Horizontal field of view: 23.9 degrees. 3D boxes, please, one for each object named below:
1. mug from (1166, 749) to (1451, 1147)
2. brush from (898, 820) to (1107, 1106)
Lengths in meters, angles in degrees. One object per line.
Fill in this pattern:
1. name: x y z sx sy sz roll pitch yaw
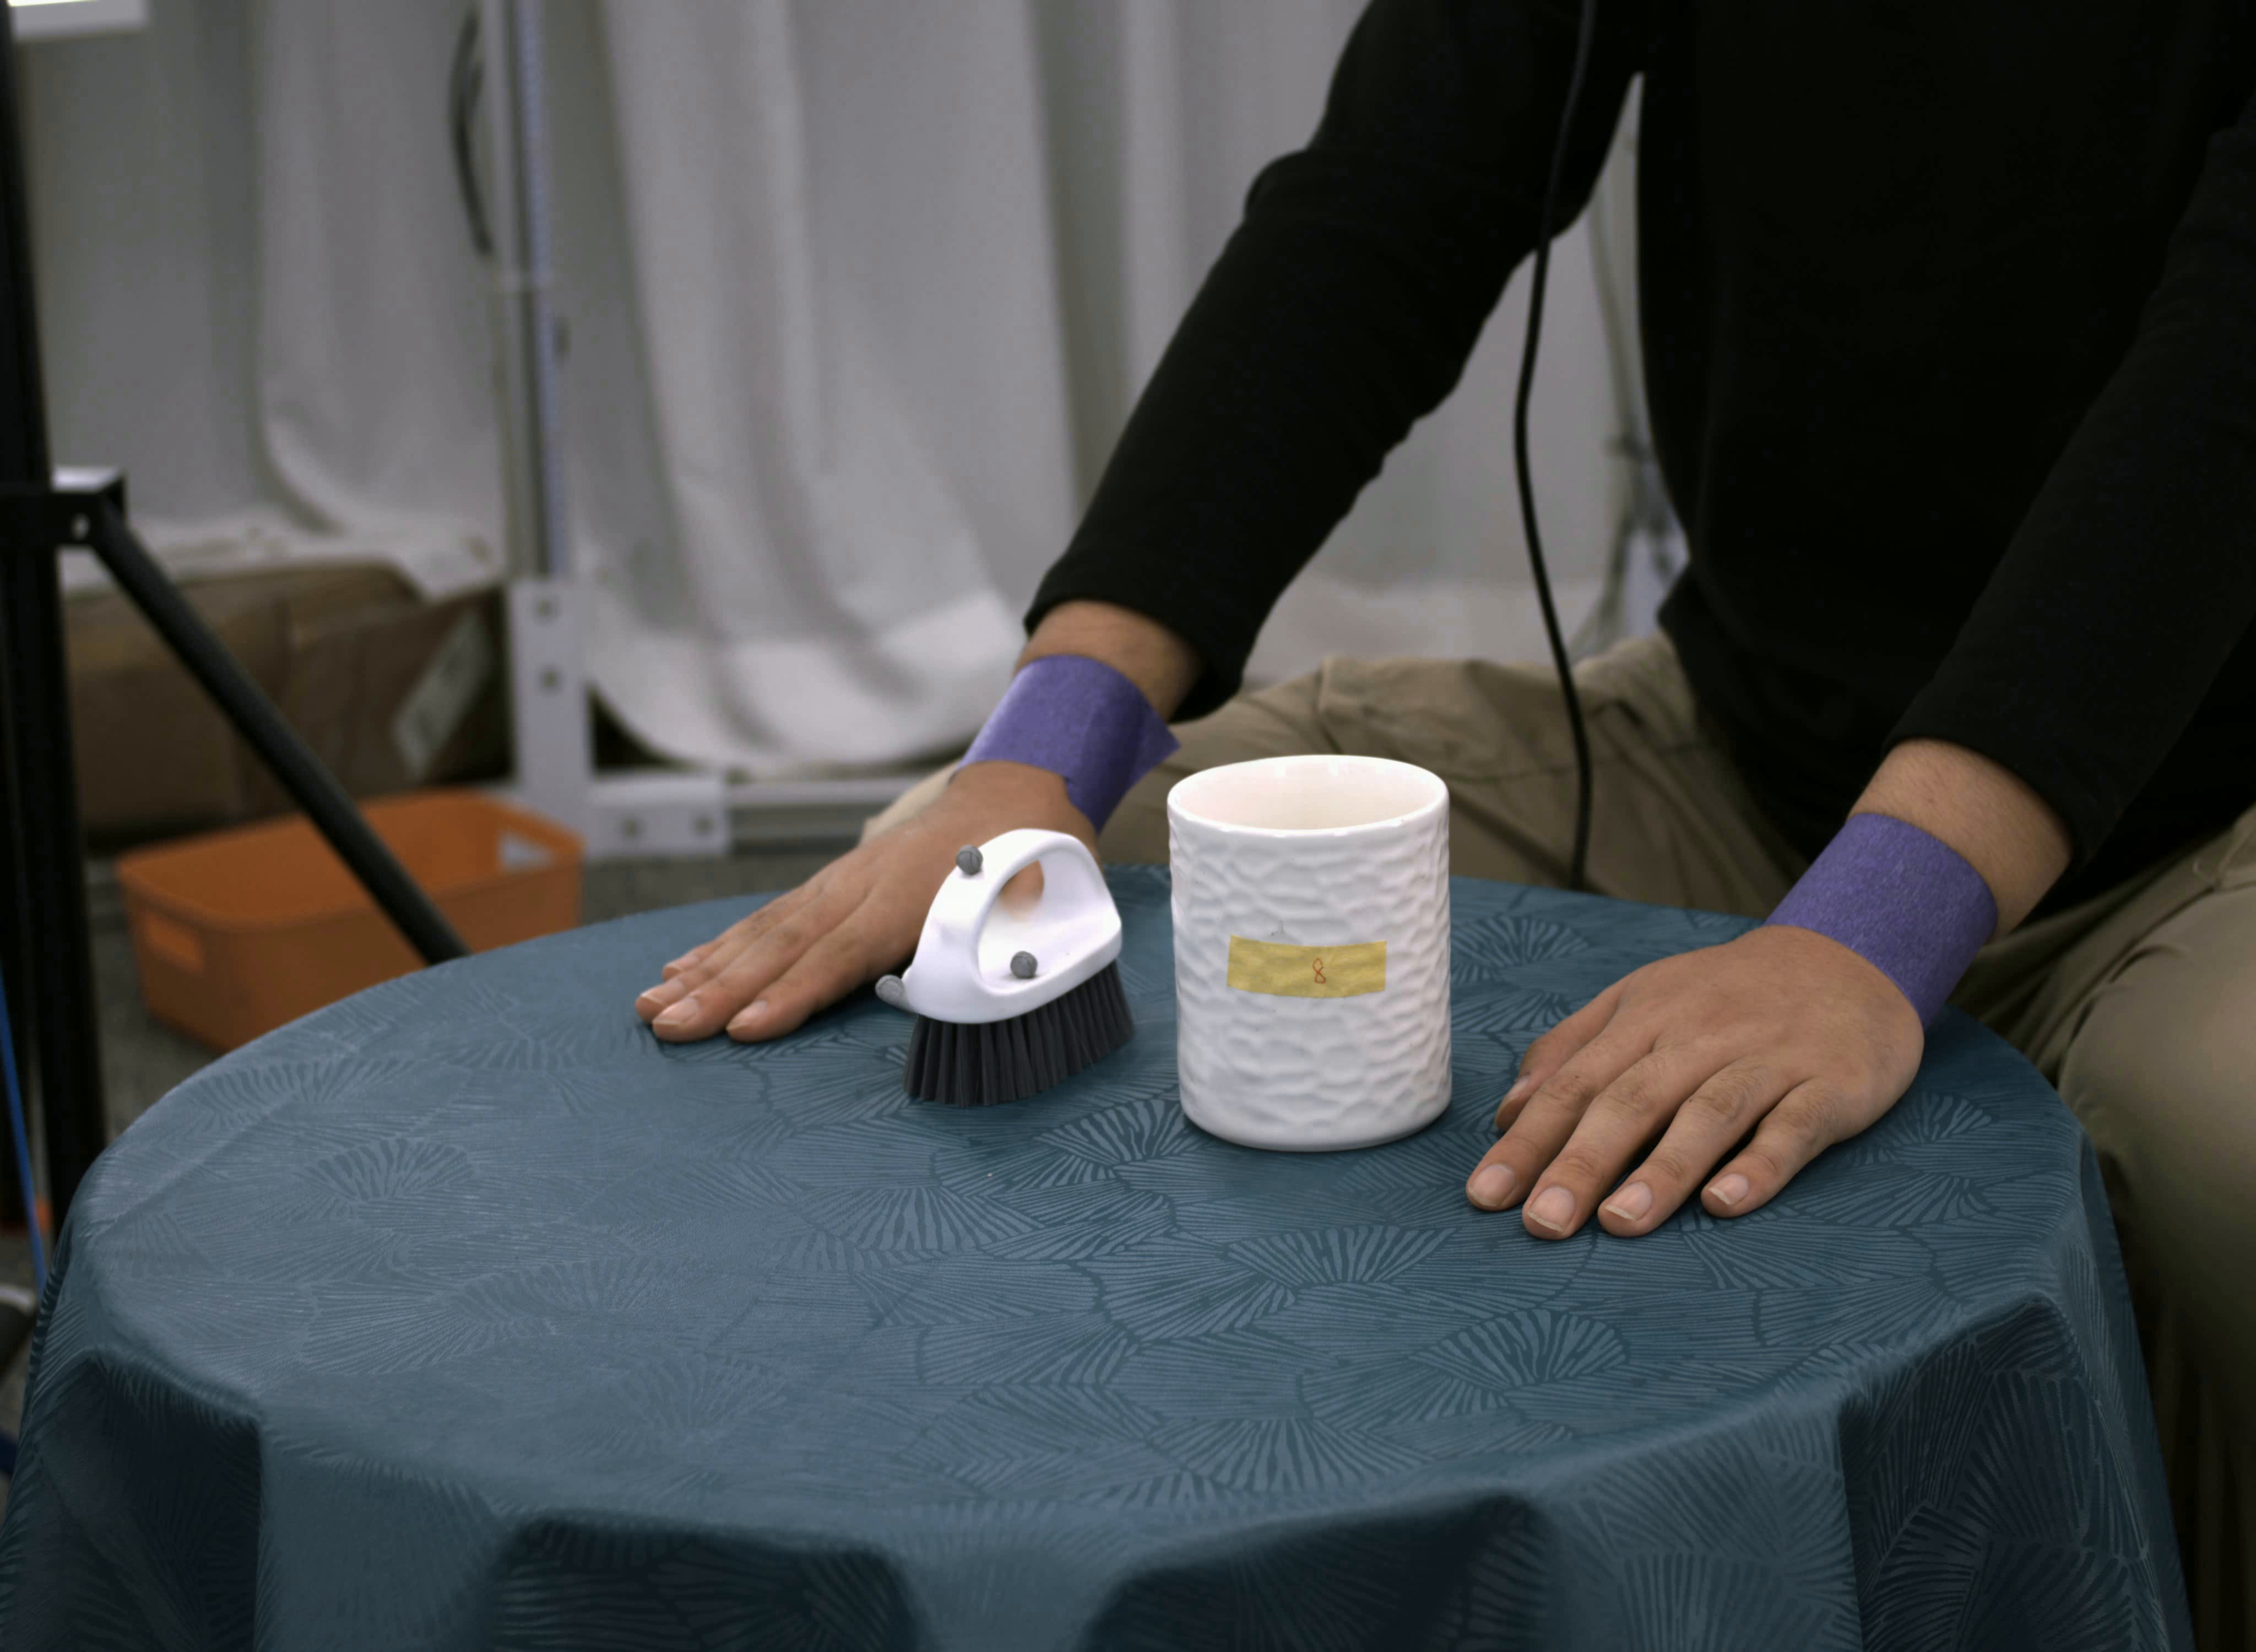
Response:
1. mug: 0.063 0.033 1.622 0.086 0.102 0.116 5 17 26
2. brush: -0.038 0.037 1.679 0.051 0.072 0.098 8 22 20
